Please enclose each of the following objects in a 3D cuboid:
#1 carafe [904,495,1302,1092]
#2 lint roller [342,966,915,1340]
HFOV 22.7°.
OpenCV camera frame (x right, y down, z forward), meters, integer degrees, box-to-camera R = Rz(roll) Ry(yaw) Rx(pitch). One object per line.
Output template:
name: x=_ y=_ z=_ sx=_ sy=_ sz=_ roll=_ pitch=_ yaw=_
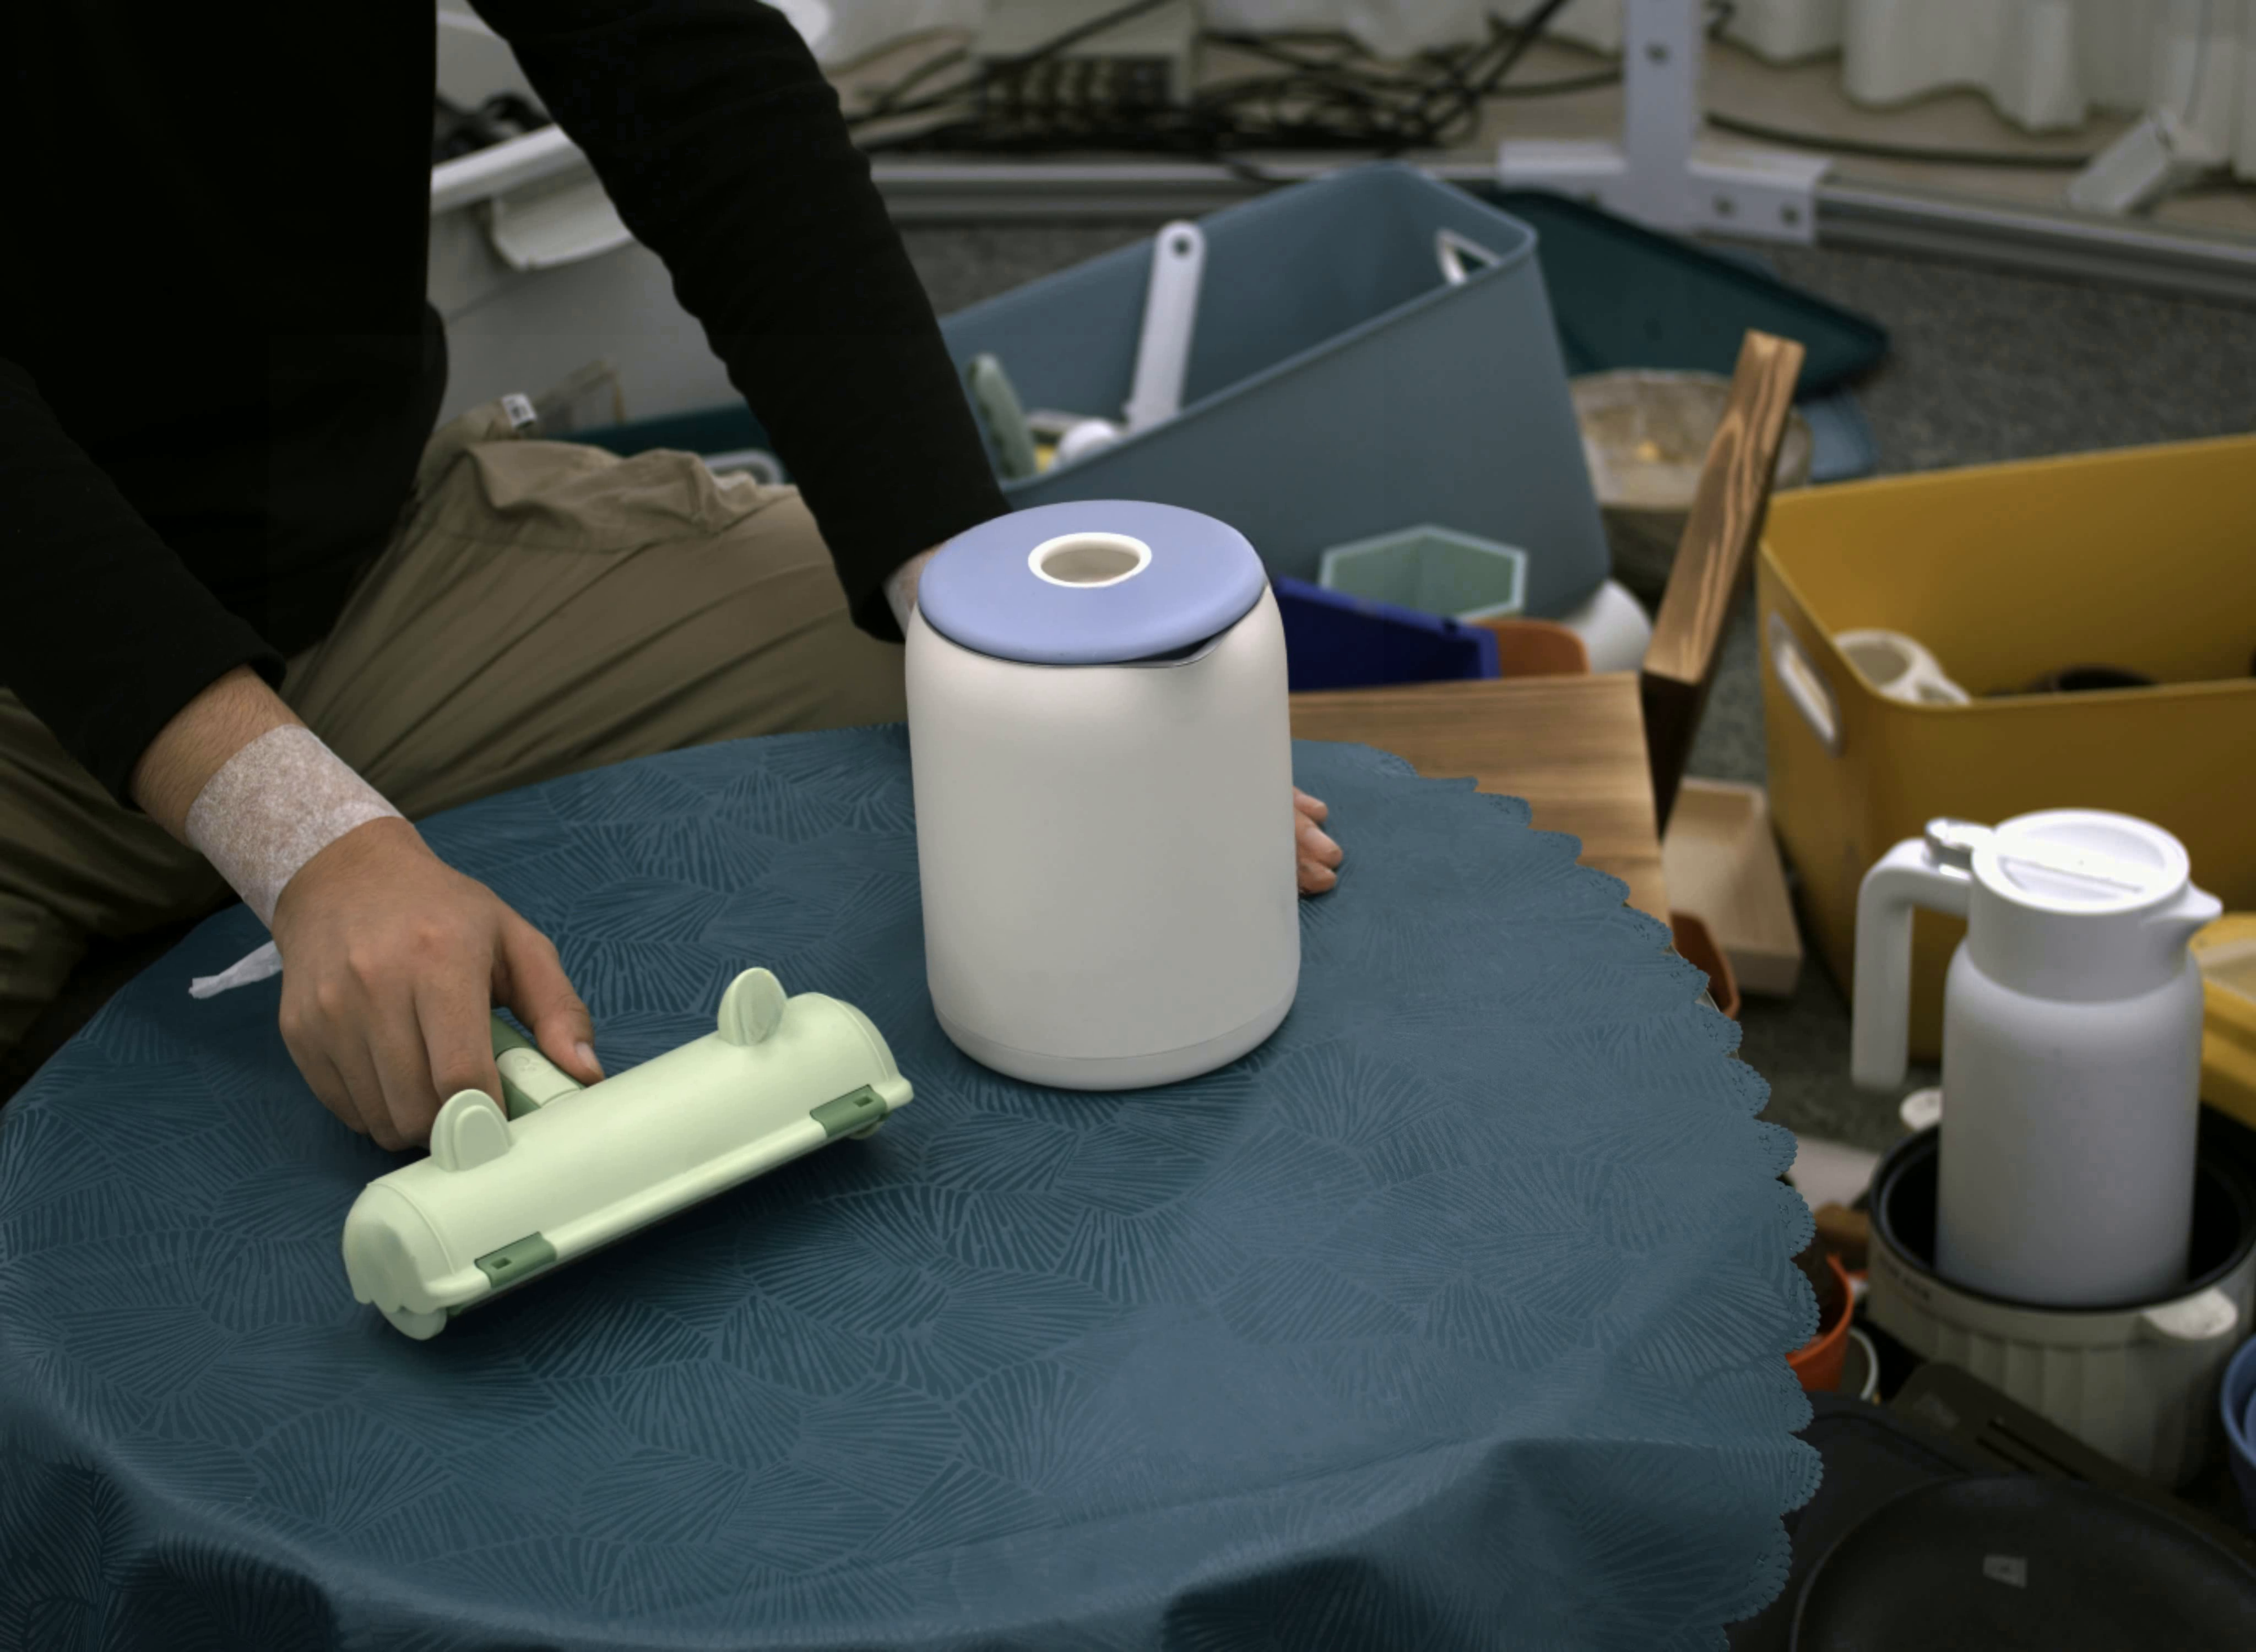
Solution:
carafe: x=-0.021 y=-0.020 z=1.953 sx=0.133 sy=0.181 sz=0.191 roll=-17 pitch=28 yaw=-27
lint roller: x=-0.199 y=0.079 z=1.867 sx=0.200 sy=0.081 sz=0.184 roll=-22 pitch=42 yaw=-36
